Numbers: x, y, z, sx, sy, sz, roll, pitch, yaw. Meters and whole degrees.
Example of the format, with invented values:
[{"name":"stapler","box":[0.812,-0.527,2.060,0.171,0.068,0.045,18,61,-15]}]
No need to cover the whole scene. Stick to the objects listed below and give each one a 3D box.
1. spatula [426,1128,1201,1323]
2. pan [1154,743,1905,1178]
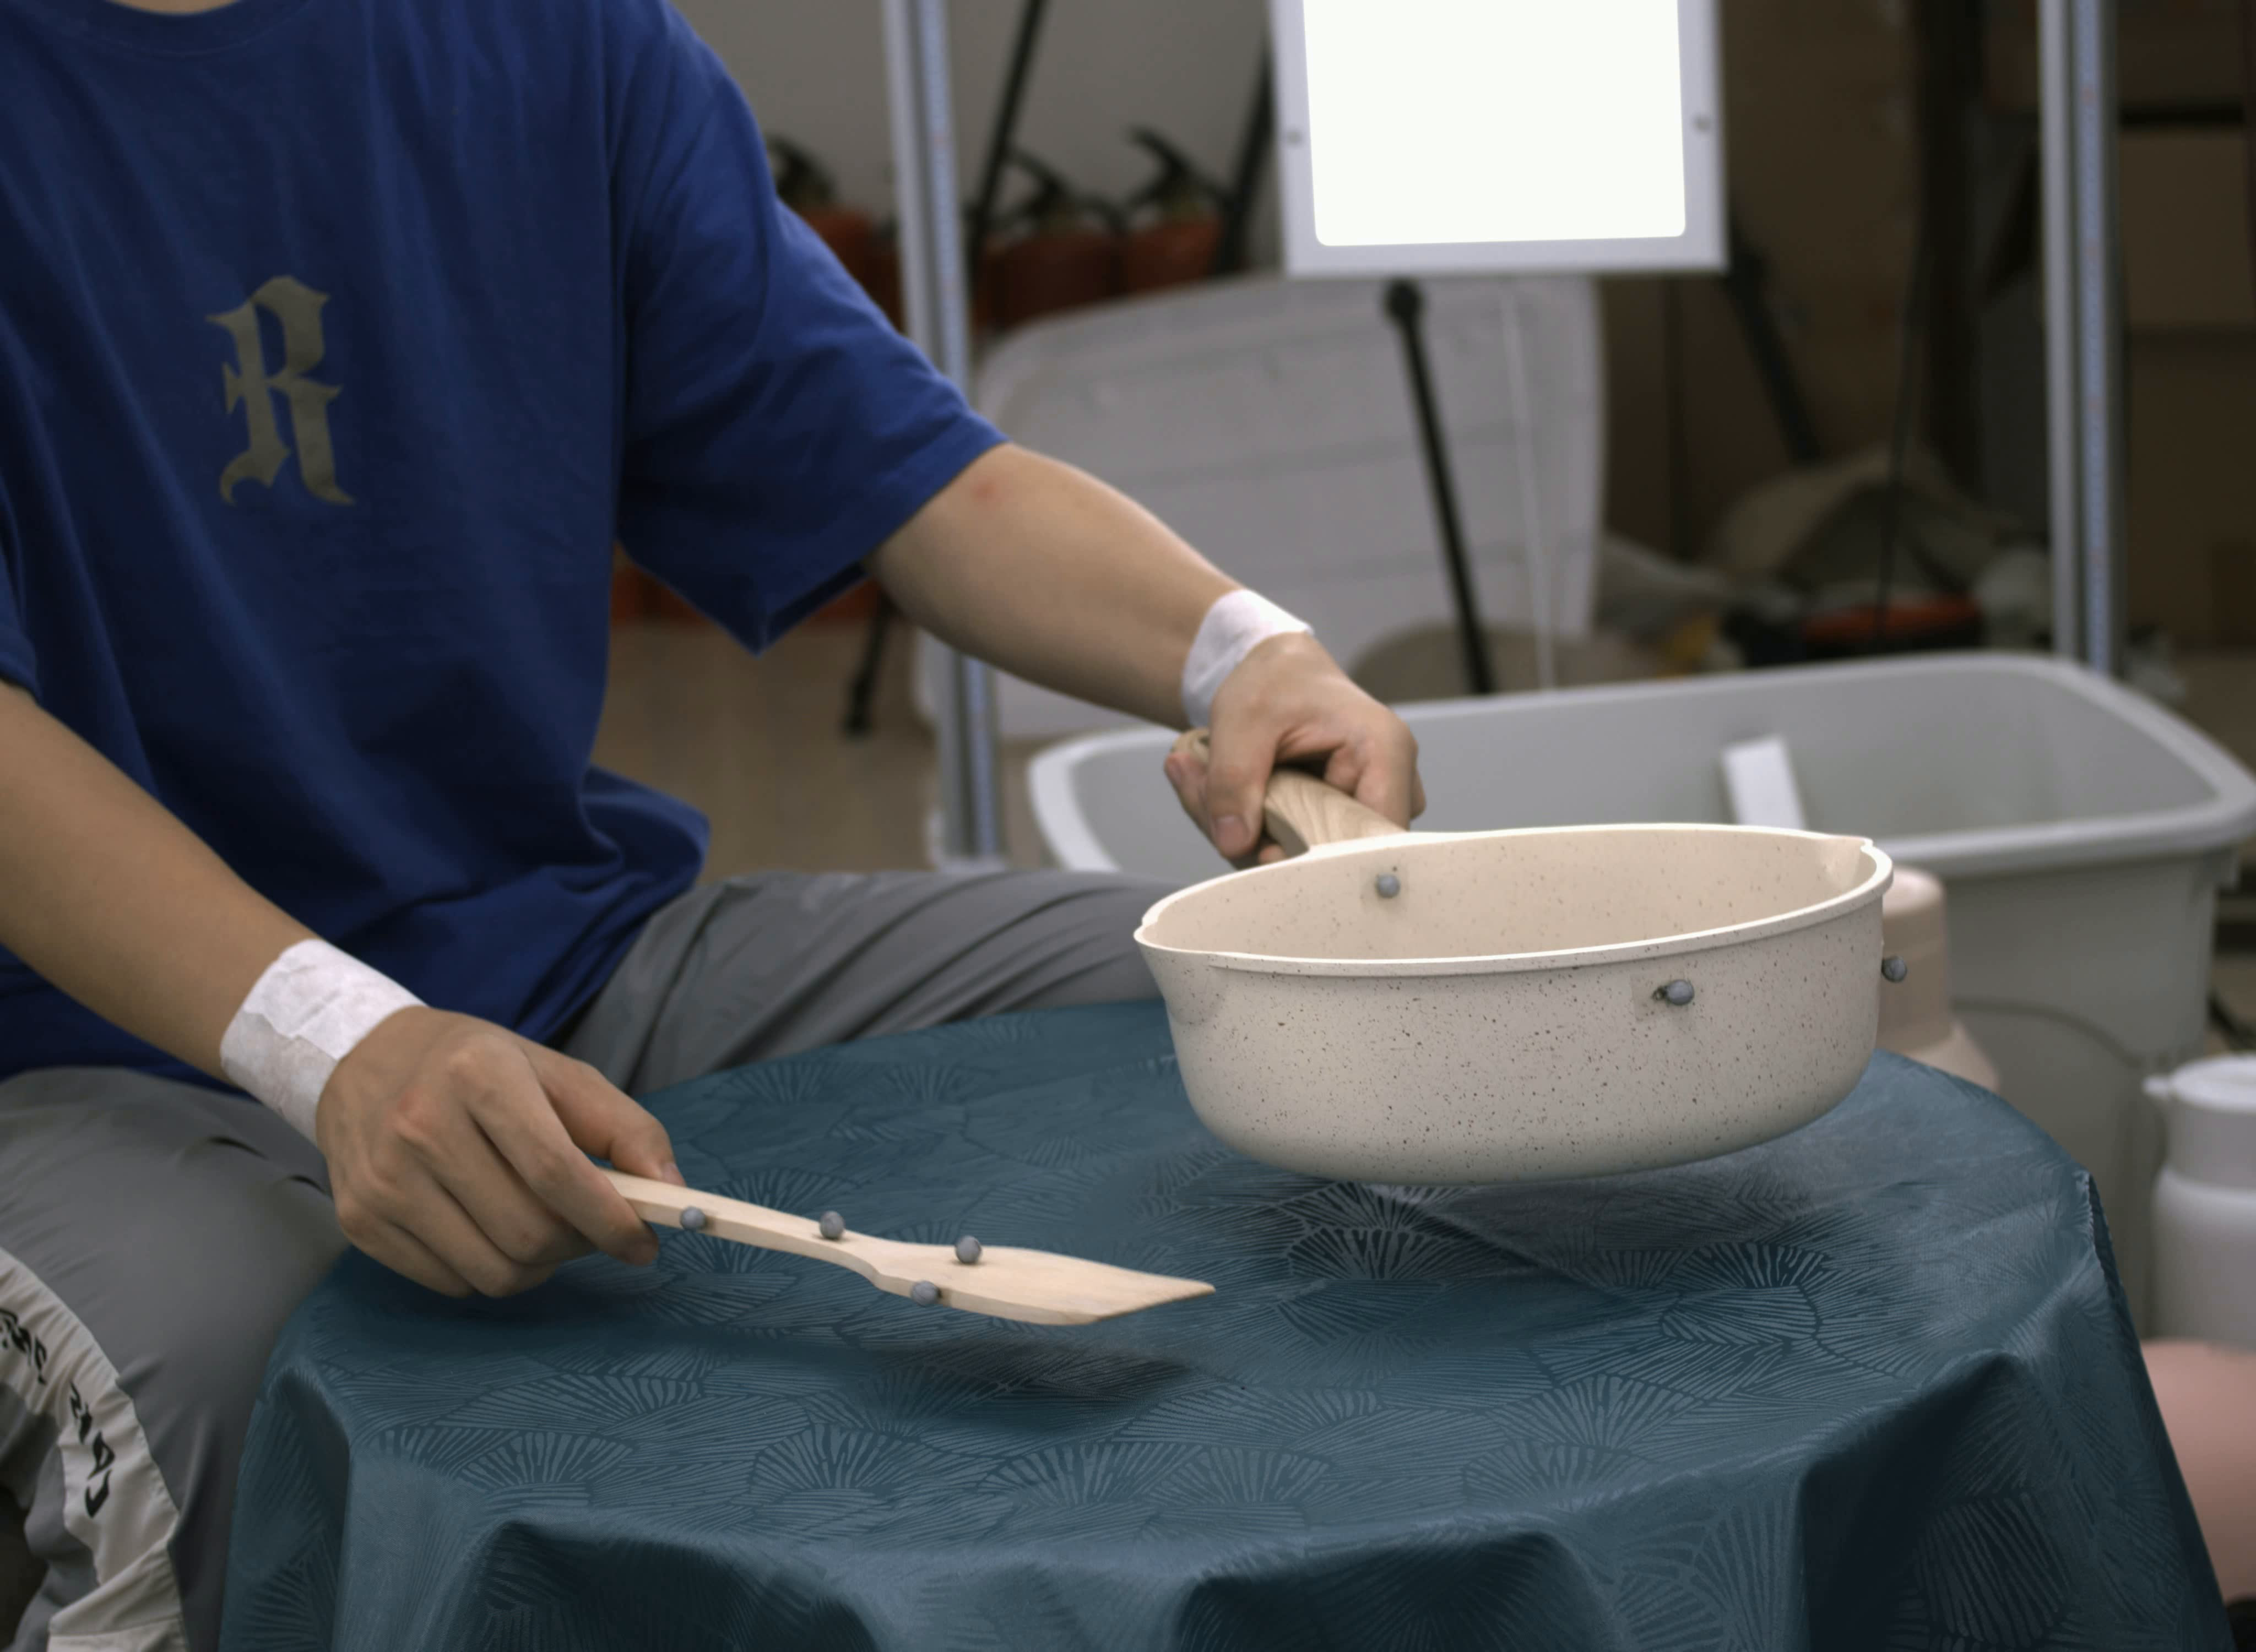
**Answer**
[{"name":"spatula","box":[-0.113,0.128,1.777,0.299,0.011,0.070,10,11,36]},{"name":"pan","box":[0.105,0.040,1.920,0.259,0.102,0.440,-10,9,-18]}]
